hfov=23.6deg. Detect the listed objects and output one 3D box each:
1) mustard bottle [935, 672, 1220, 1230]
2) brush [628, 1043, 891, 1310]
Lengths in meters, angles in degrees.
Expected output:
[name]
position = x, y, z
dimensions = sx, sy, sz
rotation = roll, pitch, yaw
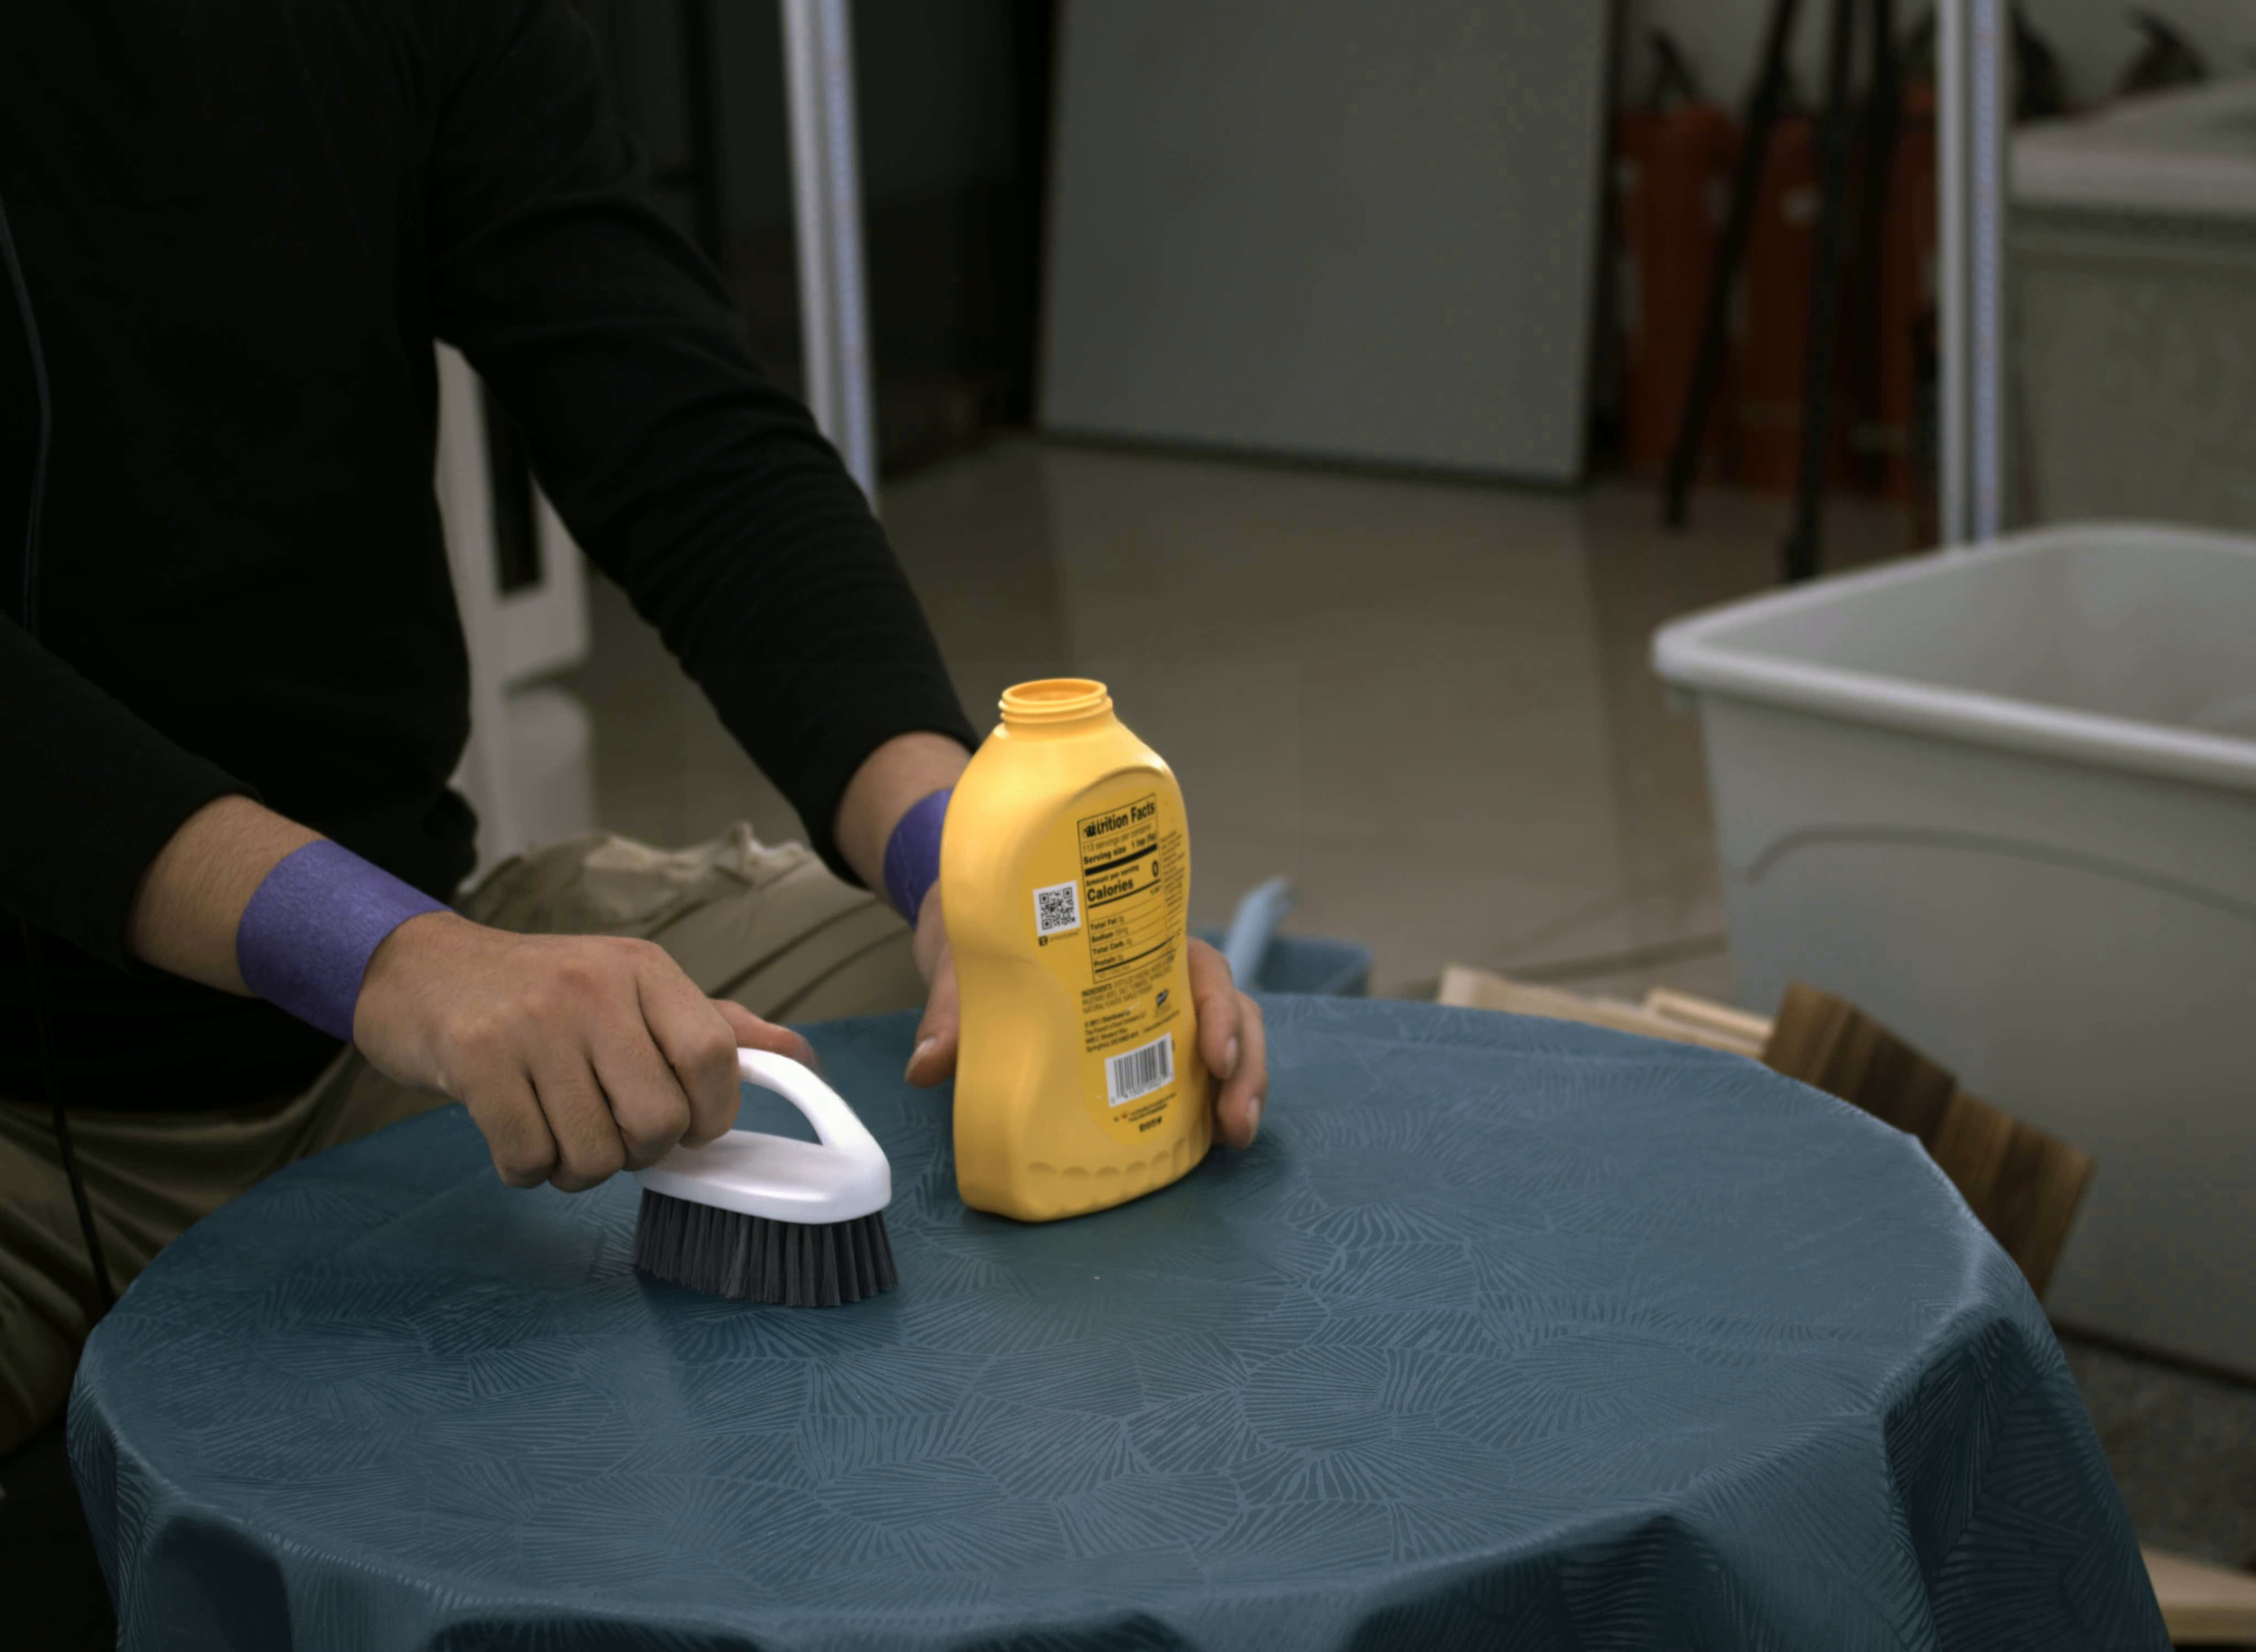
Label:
[mustard bottle]
position = -0.019, 0.038, 1.756
dimensions = 0.060, 0.174, 0.096
rotation = 5, 17, 43
[brush]
position = -0.118, 0.106, 1.705
dimensions = 0.100, 0.073, 0.049
rotation = 11, 18, 43
